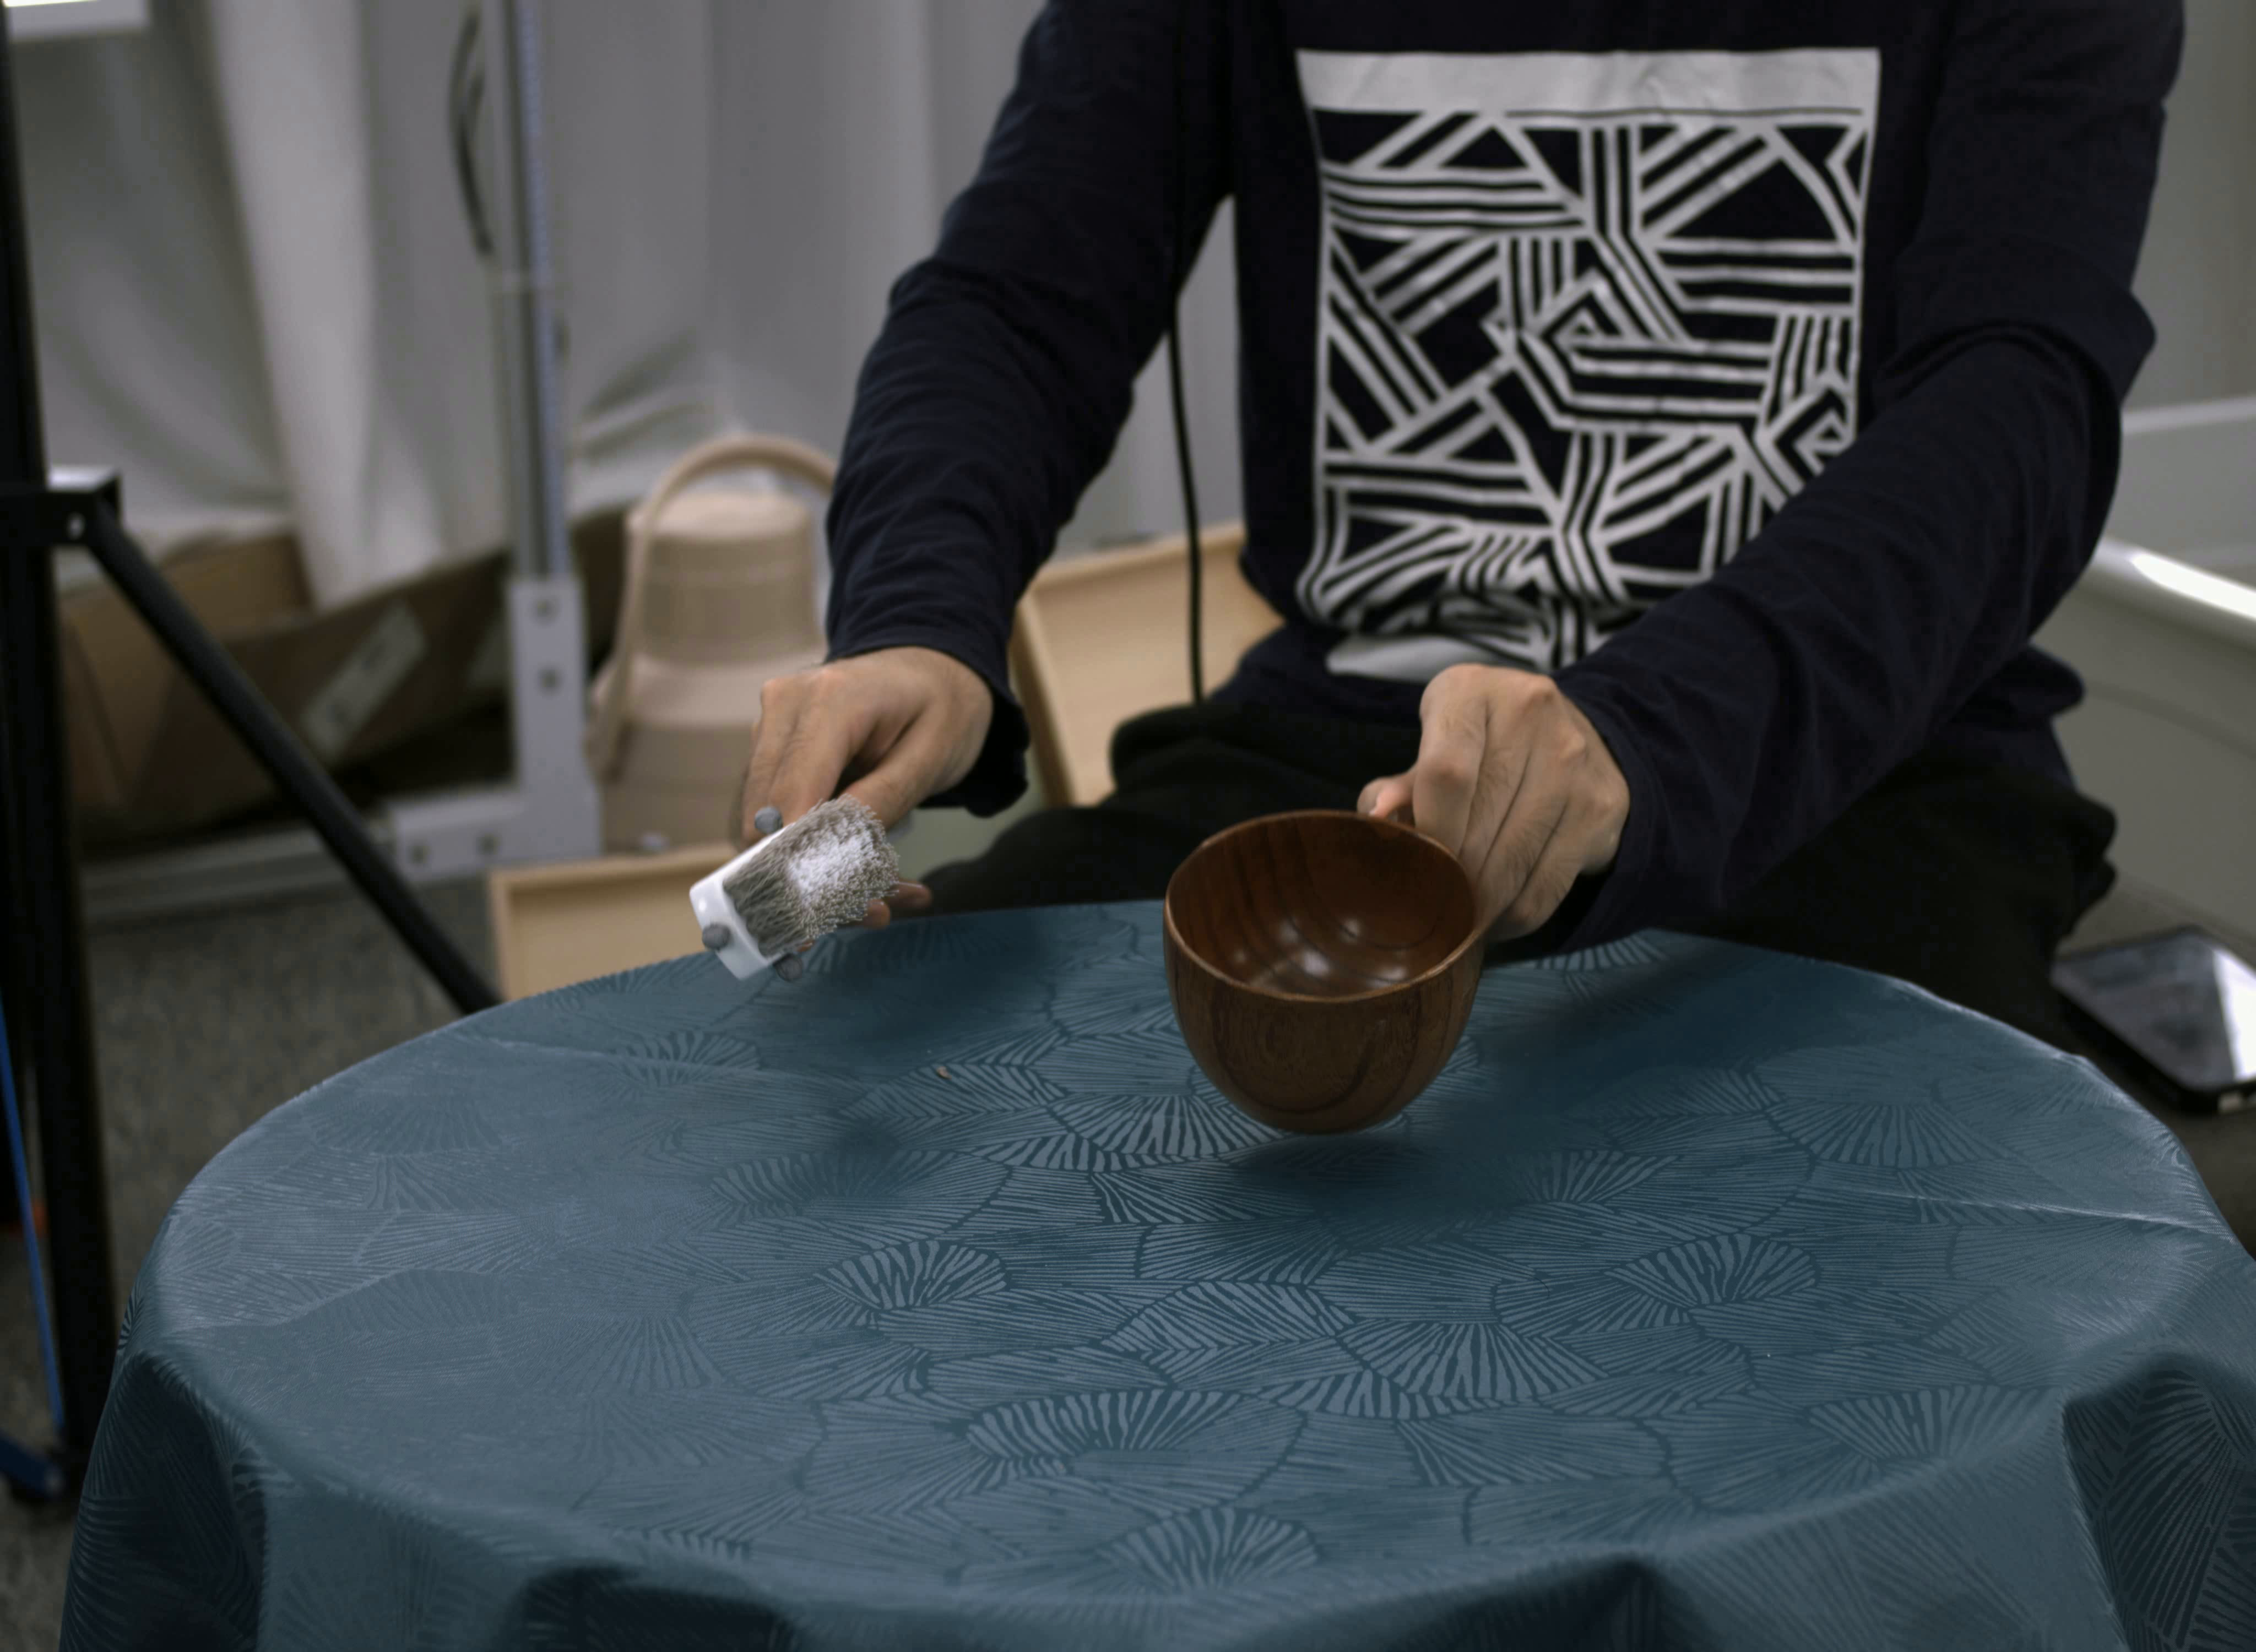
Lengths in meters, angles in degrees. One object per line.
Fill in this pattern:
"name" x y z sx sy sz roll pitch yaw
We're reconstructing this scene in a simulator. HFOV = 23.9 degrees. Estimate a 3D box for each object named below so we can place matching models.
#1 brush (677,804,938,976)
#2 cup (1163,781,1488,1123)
"brush" -0.084 0.010 1.699 0.050 0.034 0.241 -31 -2 15
"cup" 0.064 0.037 1.581 0.097 0.067 0.118 15 42 22
